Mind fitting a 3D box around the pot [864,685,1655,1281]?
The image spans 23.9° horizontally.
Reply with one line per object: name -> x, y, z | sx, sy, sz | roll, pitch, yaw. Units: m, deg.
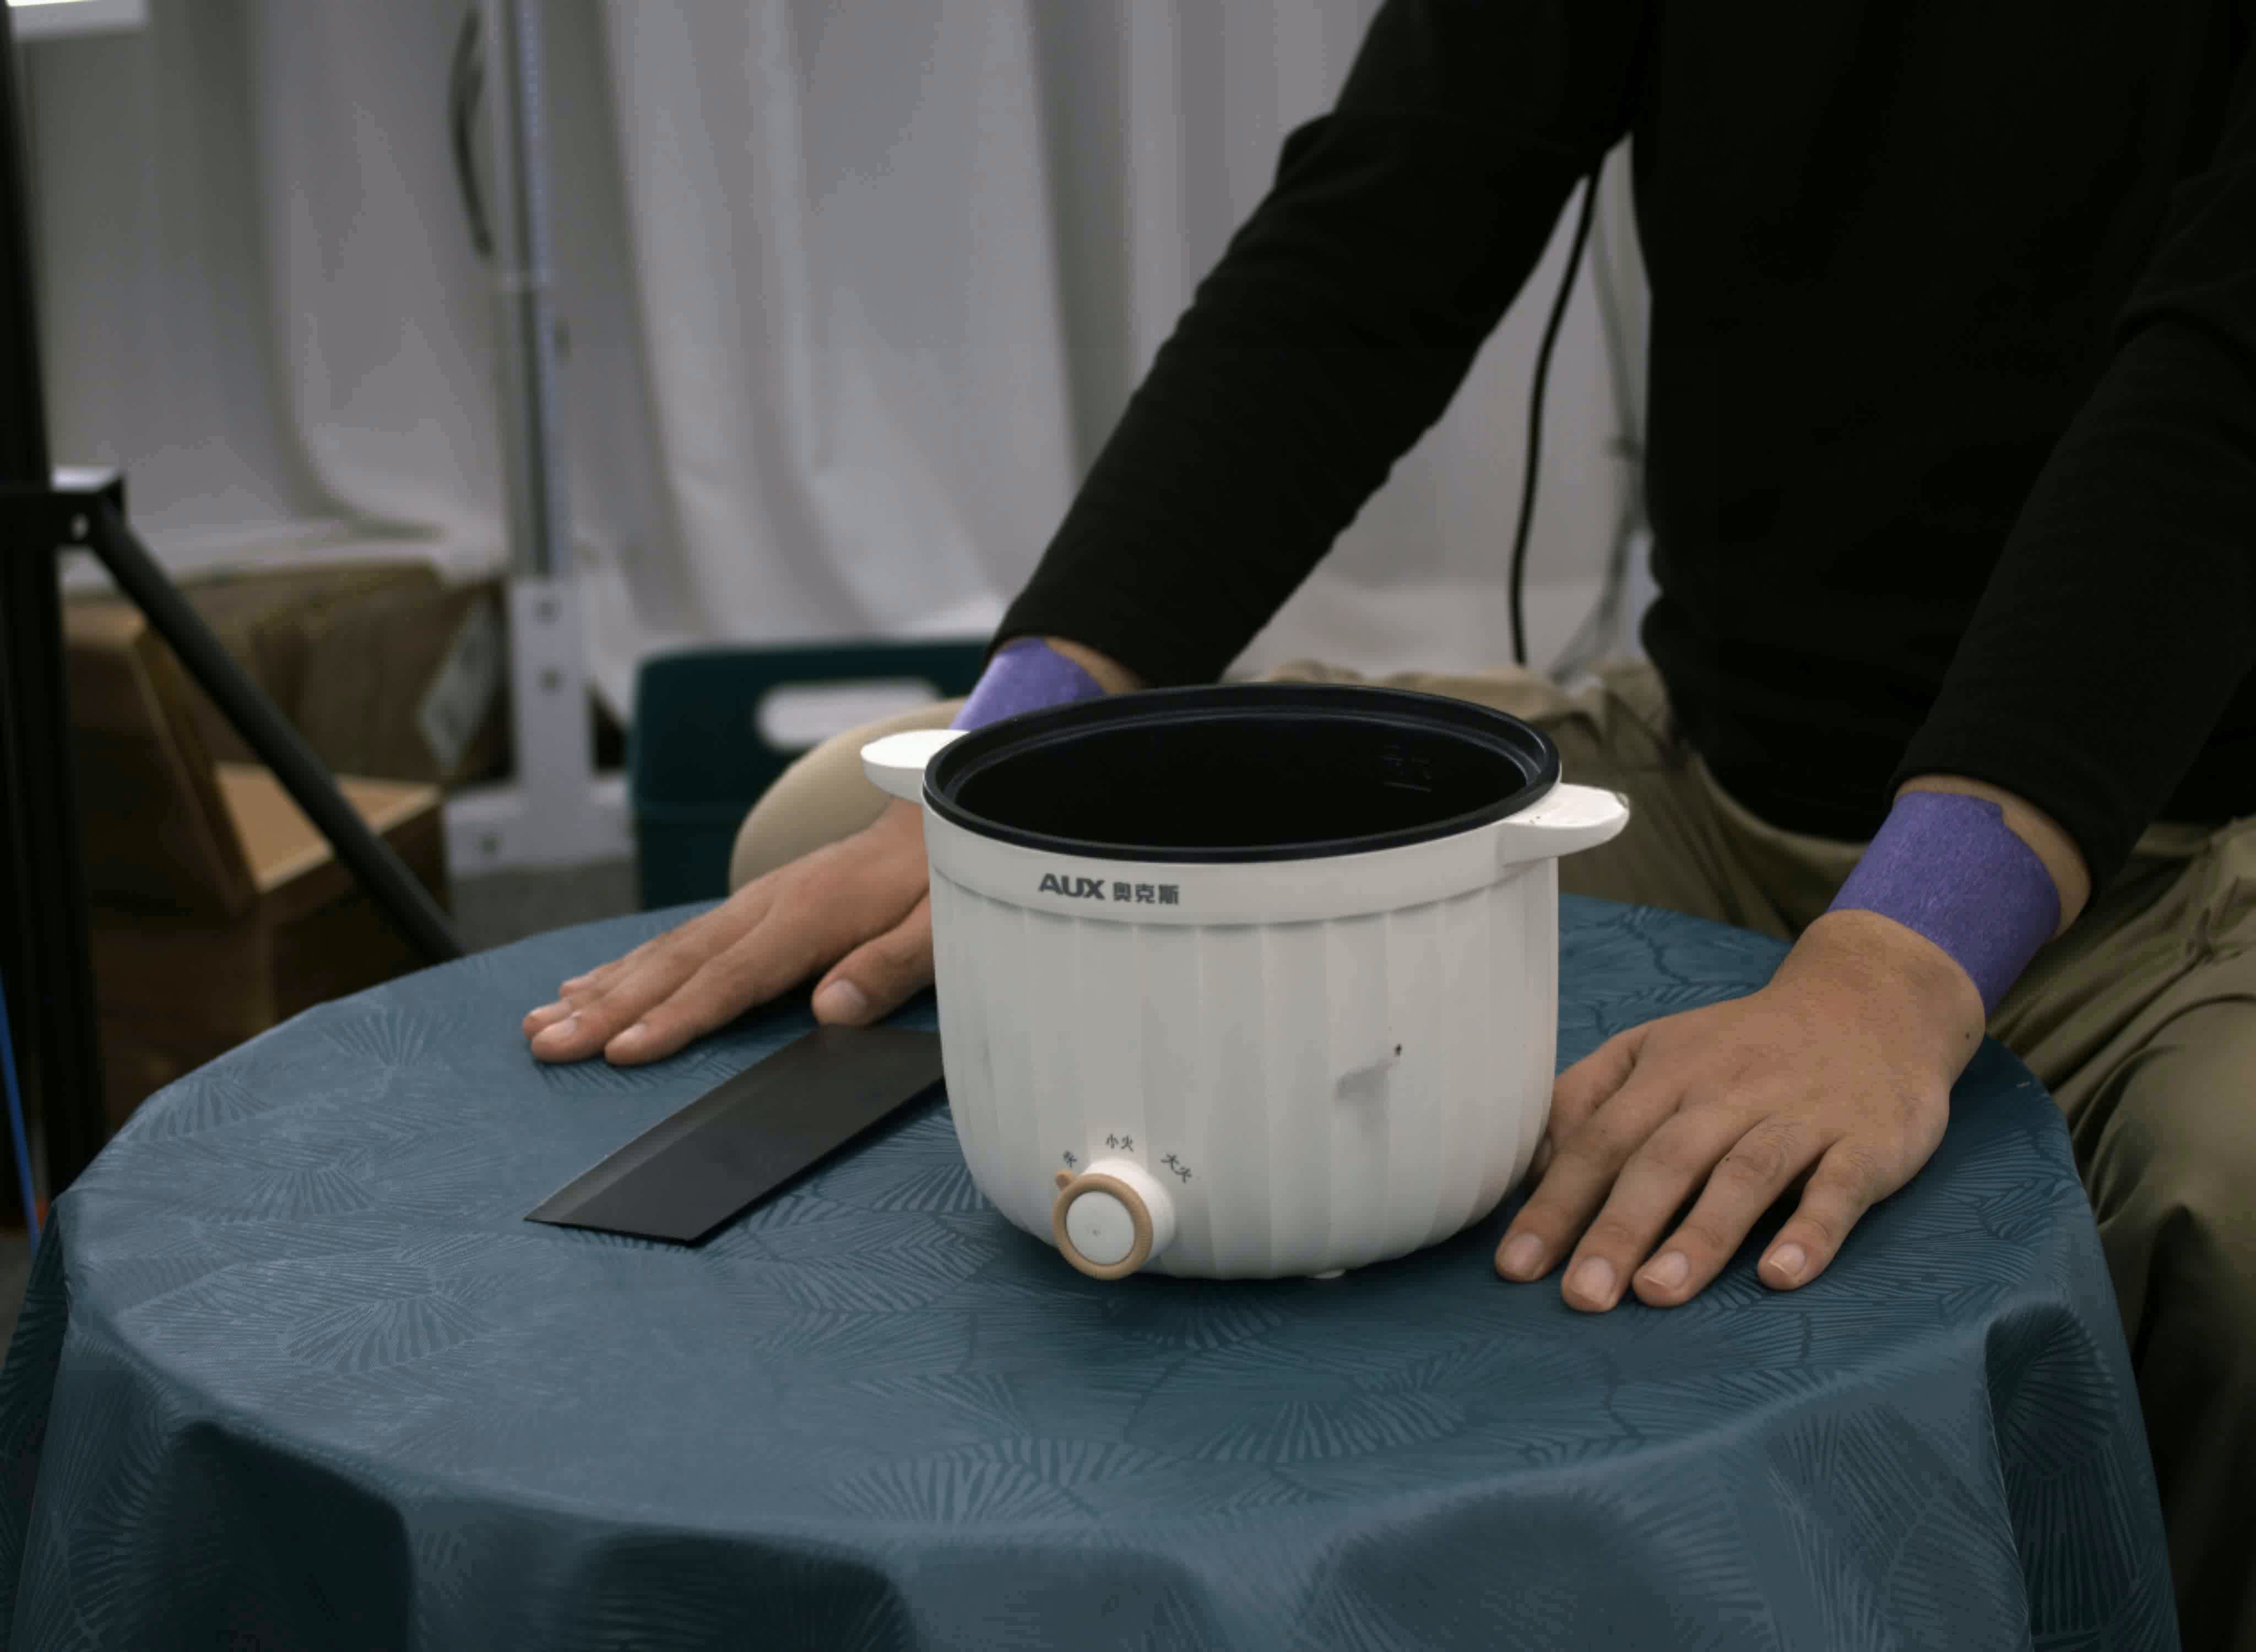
pot -> 0.034, 0.048, 1.511 | 0.244, 0.143, 0.187 | 4, 13, 26

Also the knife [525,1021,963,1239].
knife -> -0.078, 0.075, 1.662 | 0.082, 0.021, 0.296 | 7, 21, 34
